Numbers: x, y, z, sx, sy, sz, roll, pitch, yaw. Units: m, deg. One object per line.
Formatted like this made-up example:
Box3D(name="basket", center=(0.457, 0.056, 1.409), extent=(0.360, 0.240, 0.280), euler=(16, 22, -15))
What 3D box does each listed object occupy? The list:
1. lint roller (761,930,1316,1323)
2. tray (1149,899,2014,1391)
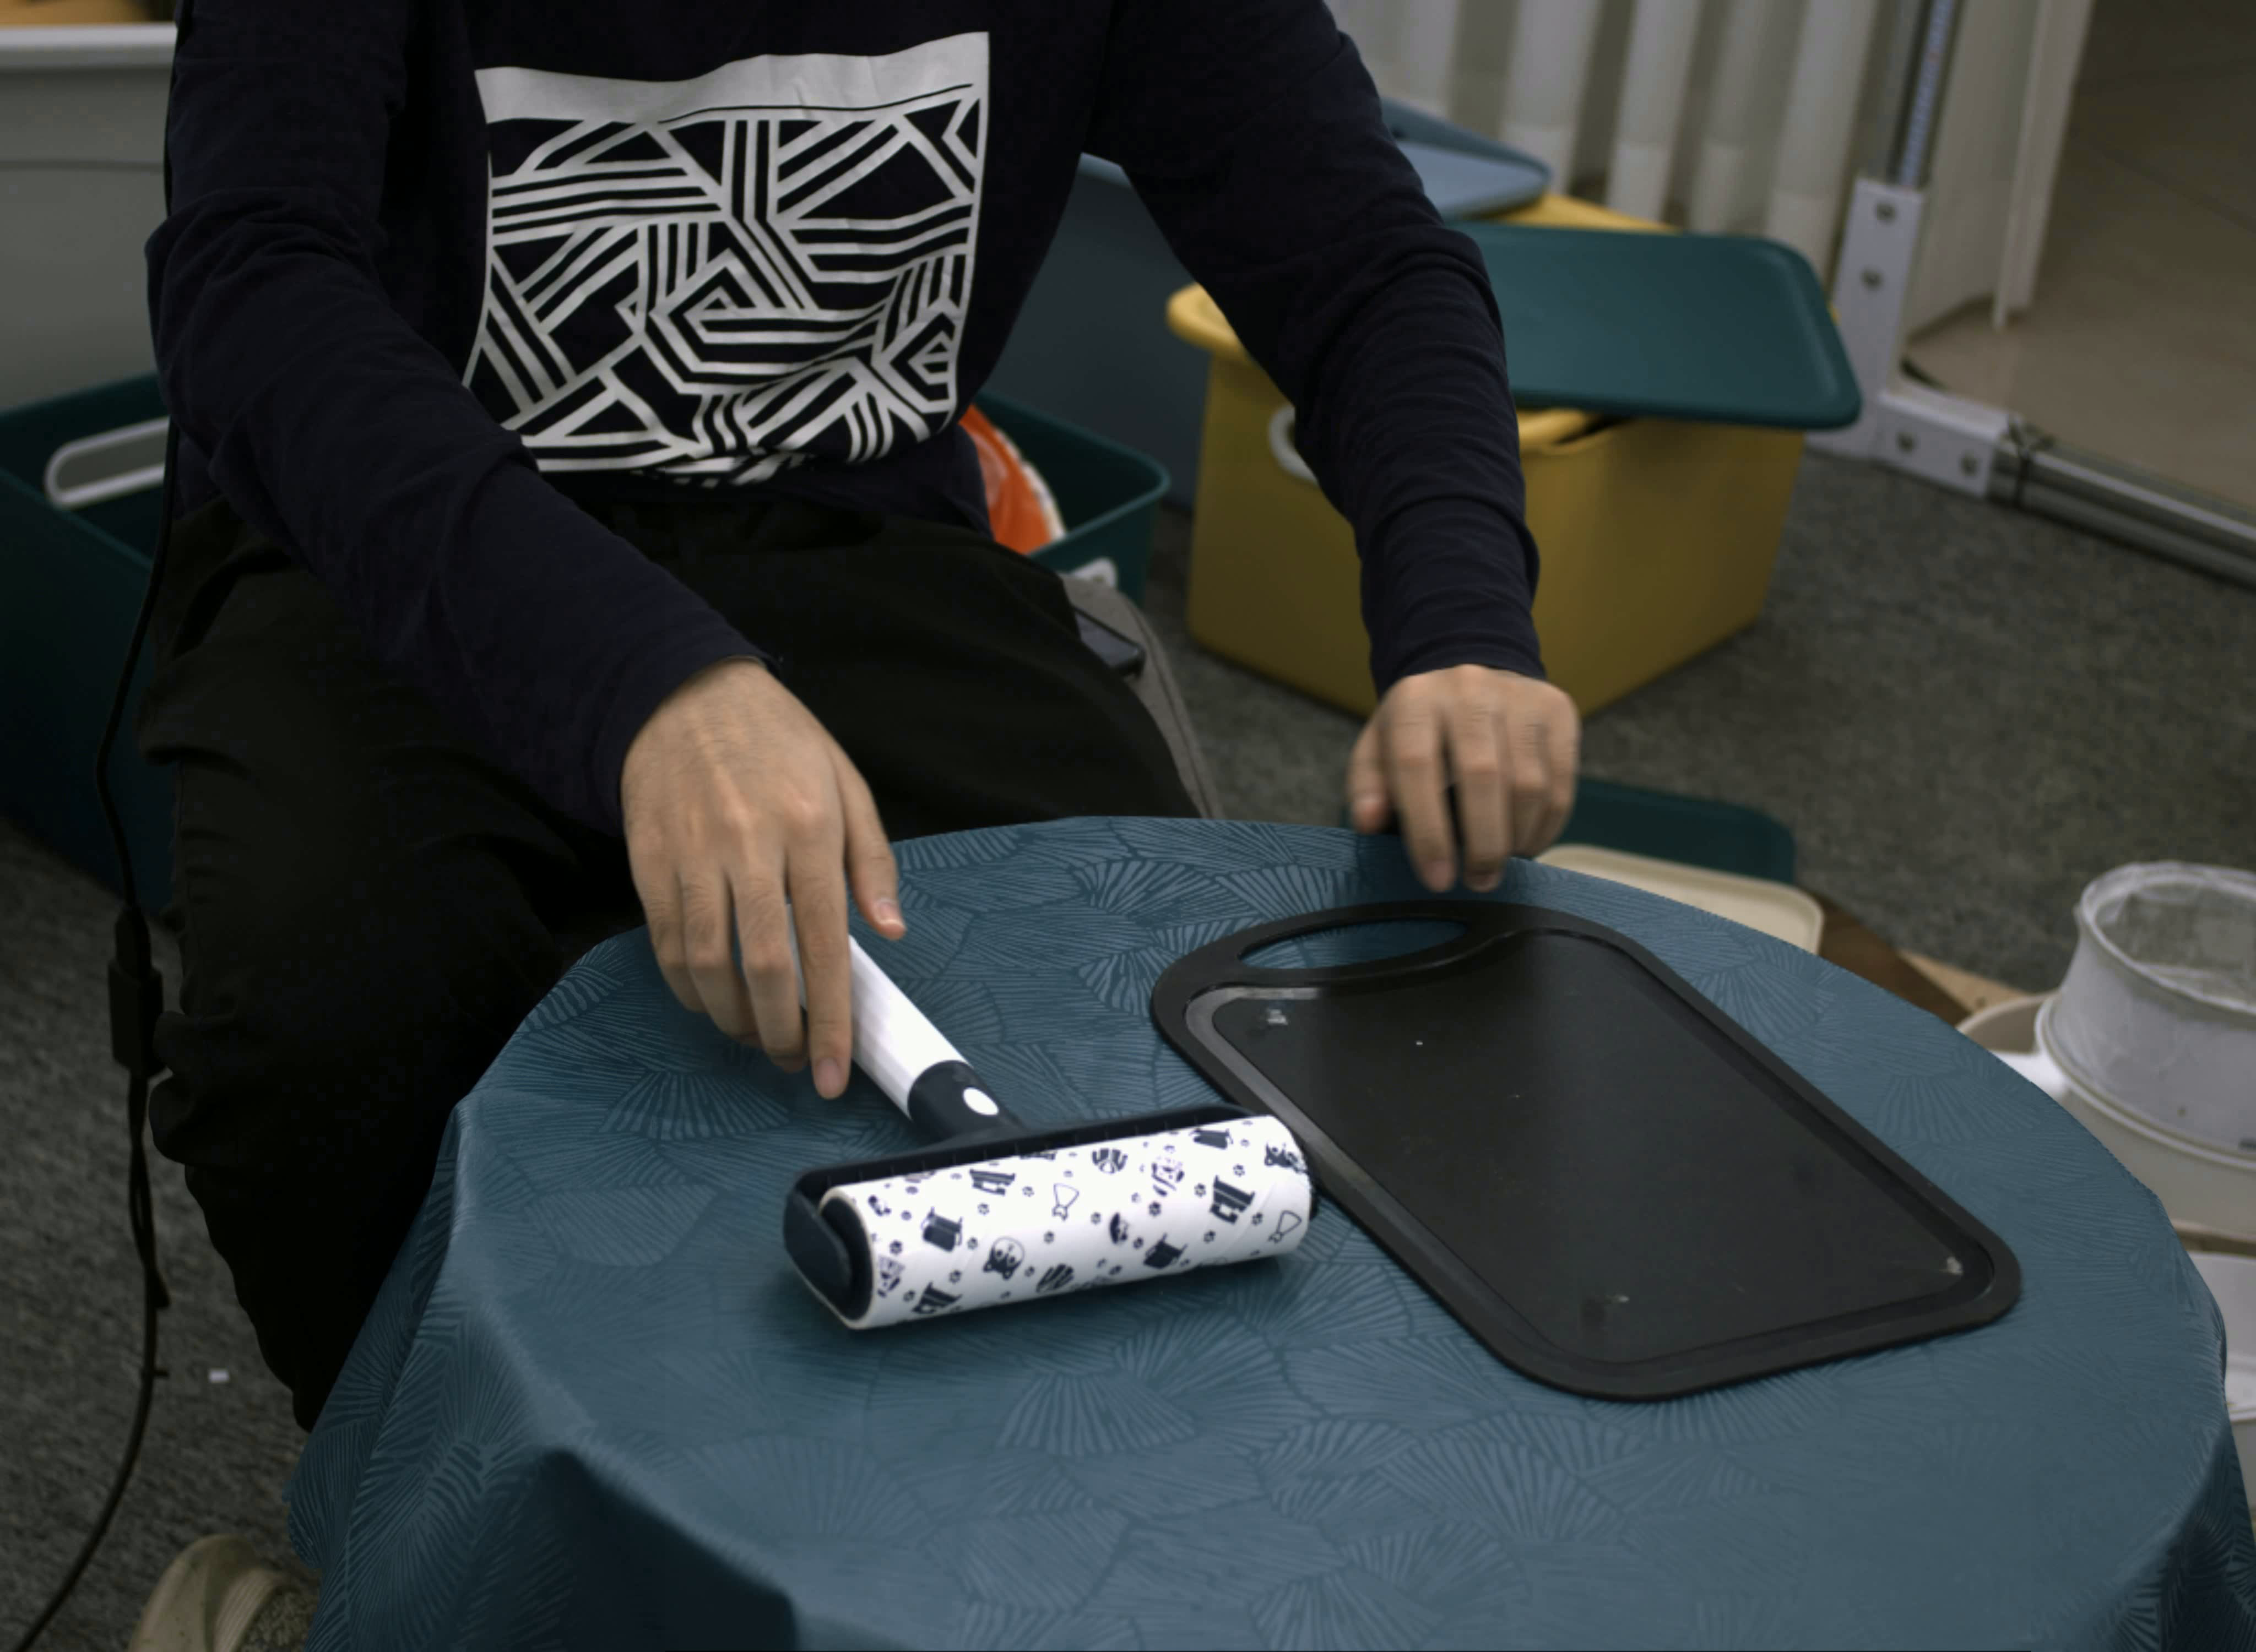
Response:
Box3D(name="lint roller", center=(-0.069, 0.087, 1.819), extent=(0.175, 0.050, 0.249), euler=(-9, 28, -26))
Box3D(name="tray", center=(0.150, 0.103, 1.873), extent=(0.210, 0.010, 0.328), euler=(-8, 30, -28))
